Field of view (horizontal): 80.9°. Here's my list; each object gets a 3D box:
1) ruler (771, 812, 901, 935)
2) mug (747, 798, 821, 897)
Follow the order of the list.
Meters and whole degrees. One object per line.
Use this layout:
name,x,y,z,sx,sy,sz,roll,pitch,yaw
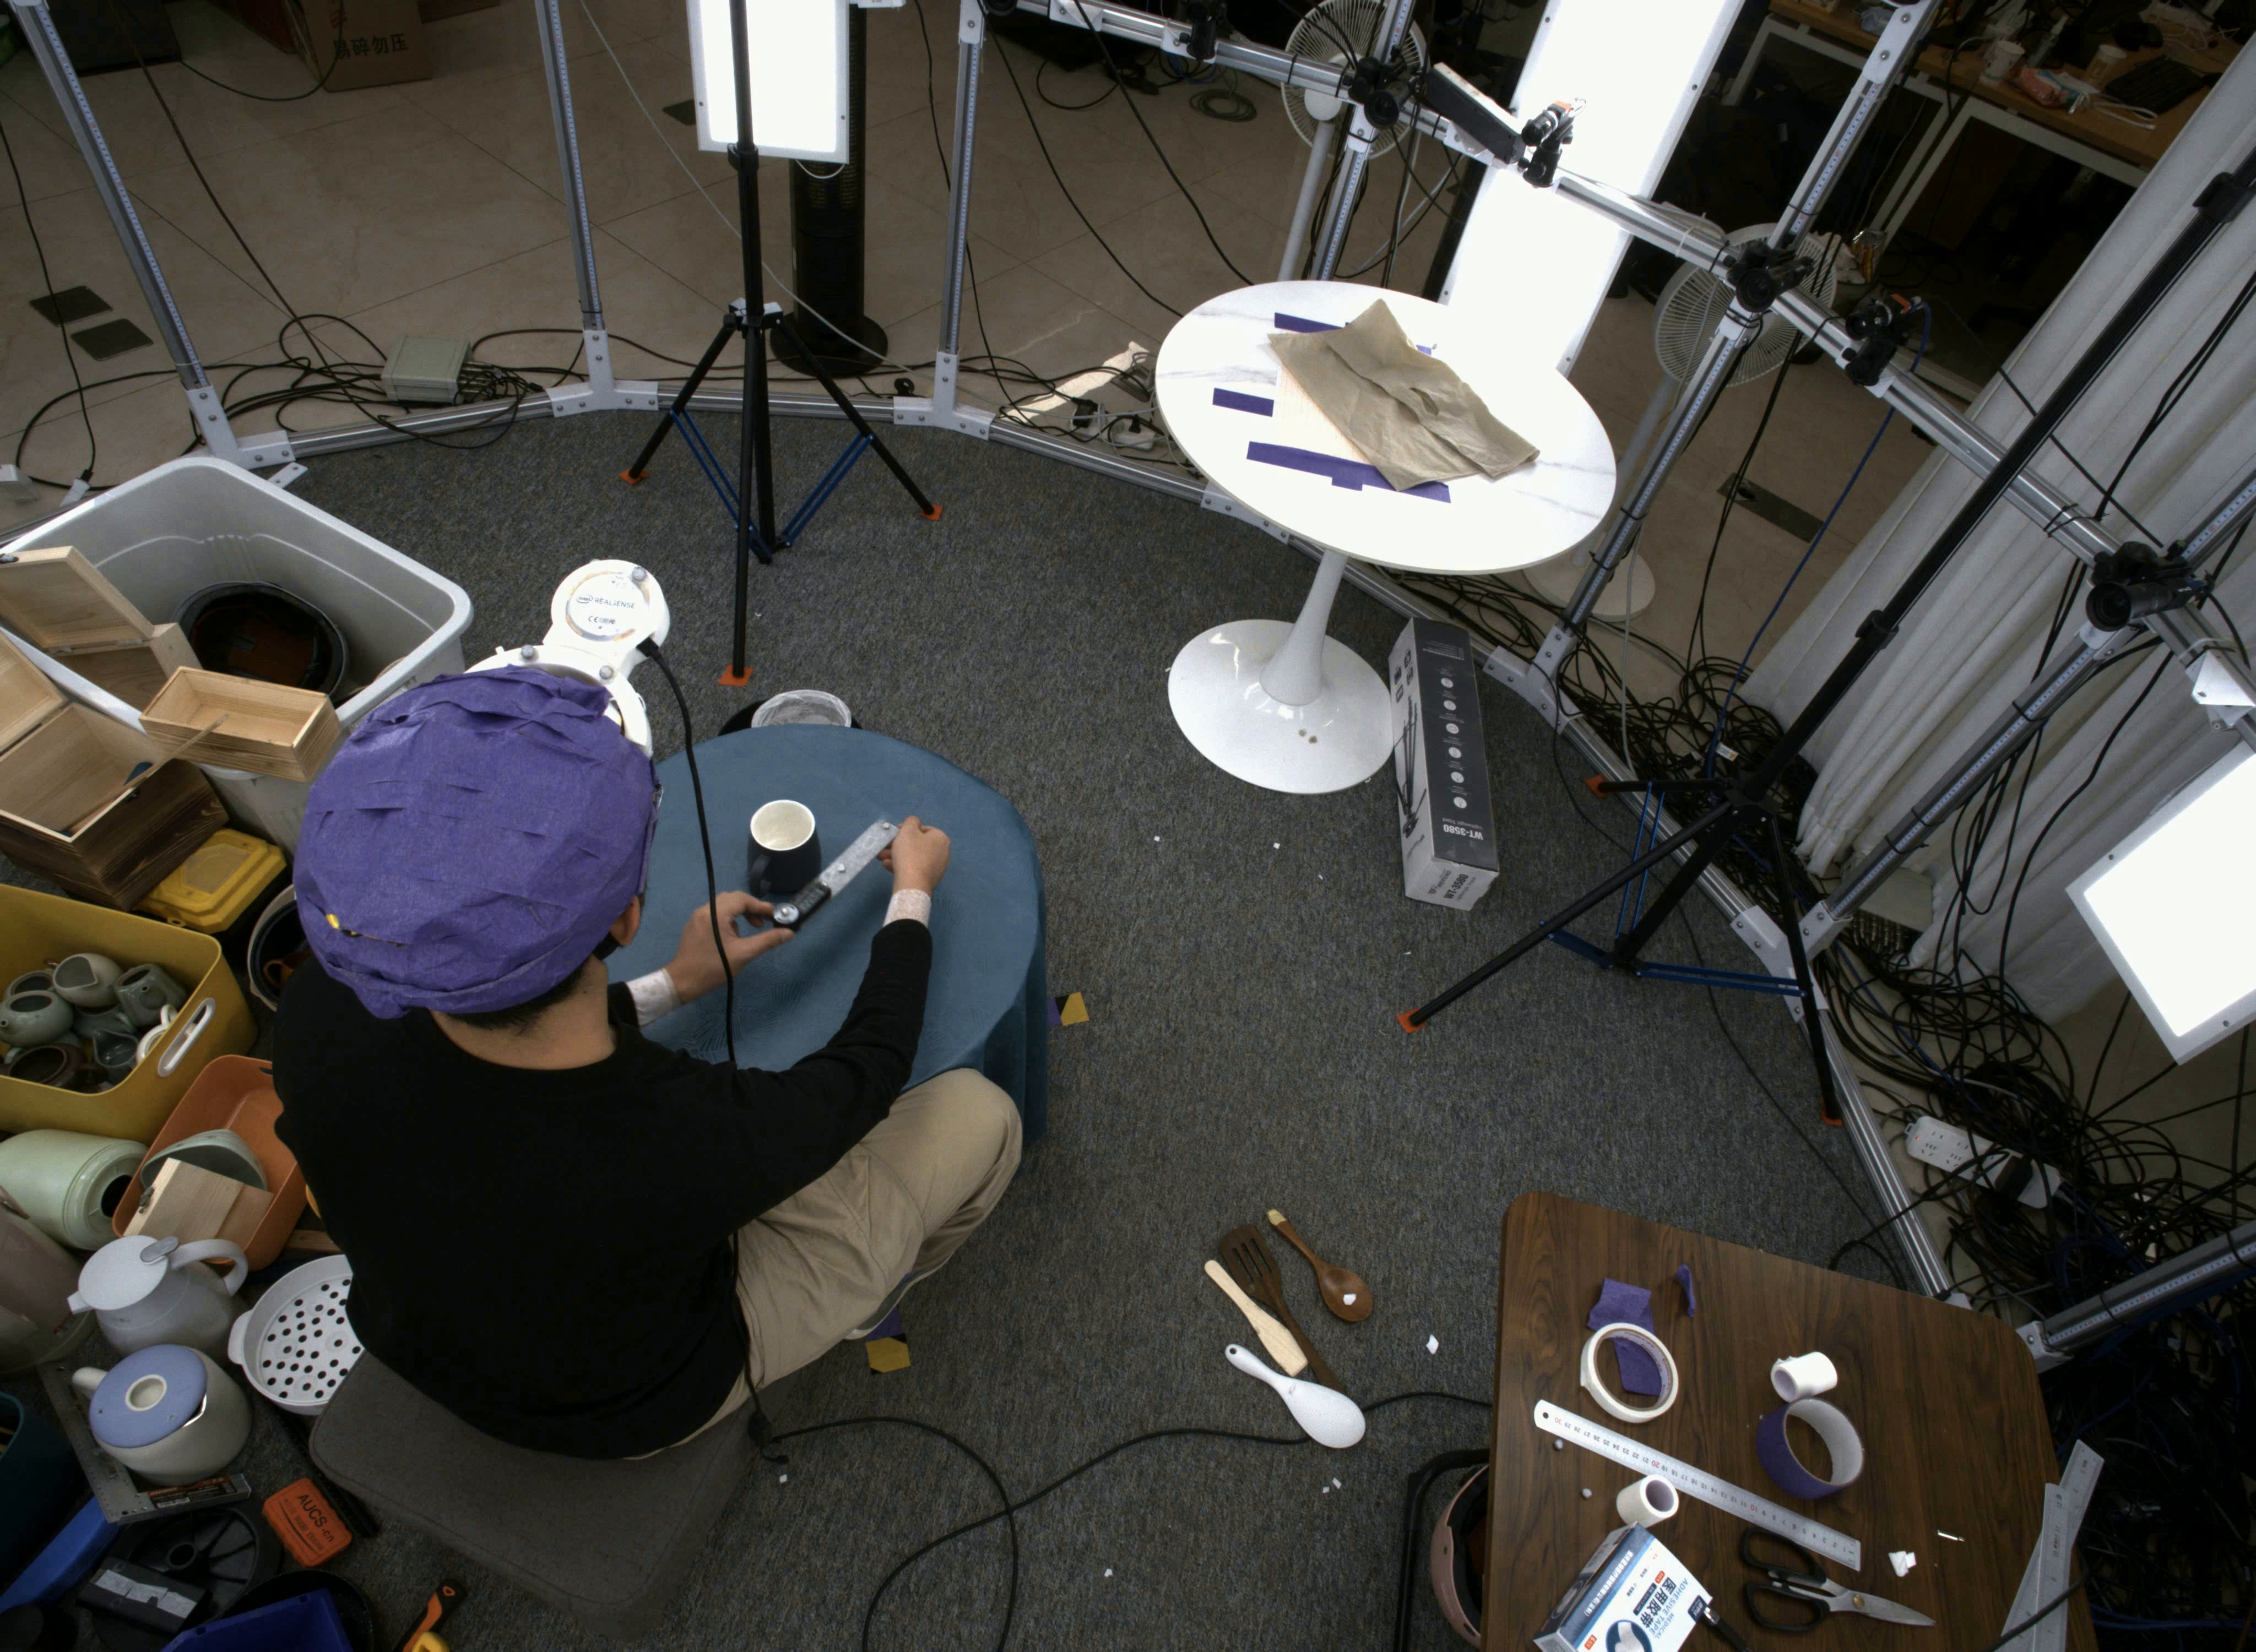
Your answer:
ruler,-0.356,0.050,1.580,0.037,0.024,0.217,32,51,10
mug,-0.442,0.033,1.629,0.092,0.092,0.122,22,50,6
